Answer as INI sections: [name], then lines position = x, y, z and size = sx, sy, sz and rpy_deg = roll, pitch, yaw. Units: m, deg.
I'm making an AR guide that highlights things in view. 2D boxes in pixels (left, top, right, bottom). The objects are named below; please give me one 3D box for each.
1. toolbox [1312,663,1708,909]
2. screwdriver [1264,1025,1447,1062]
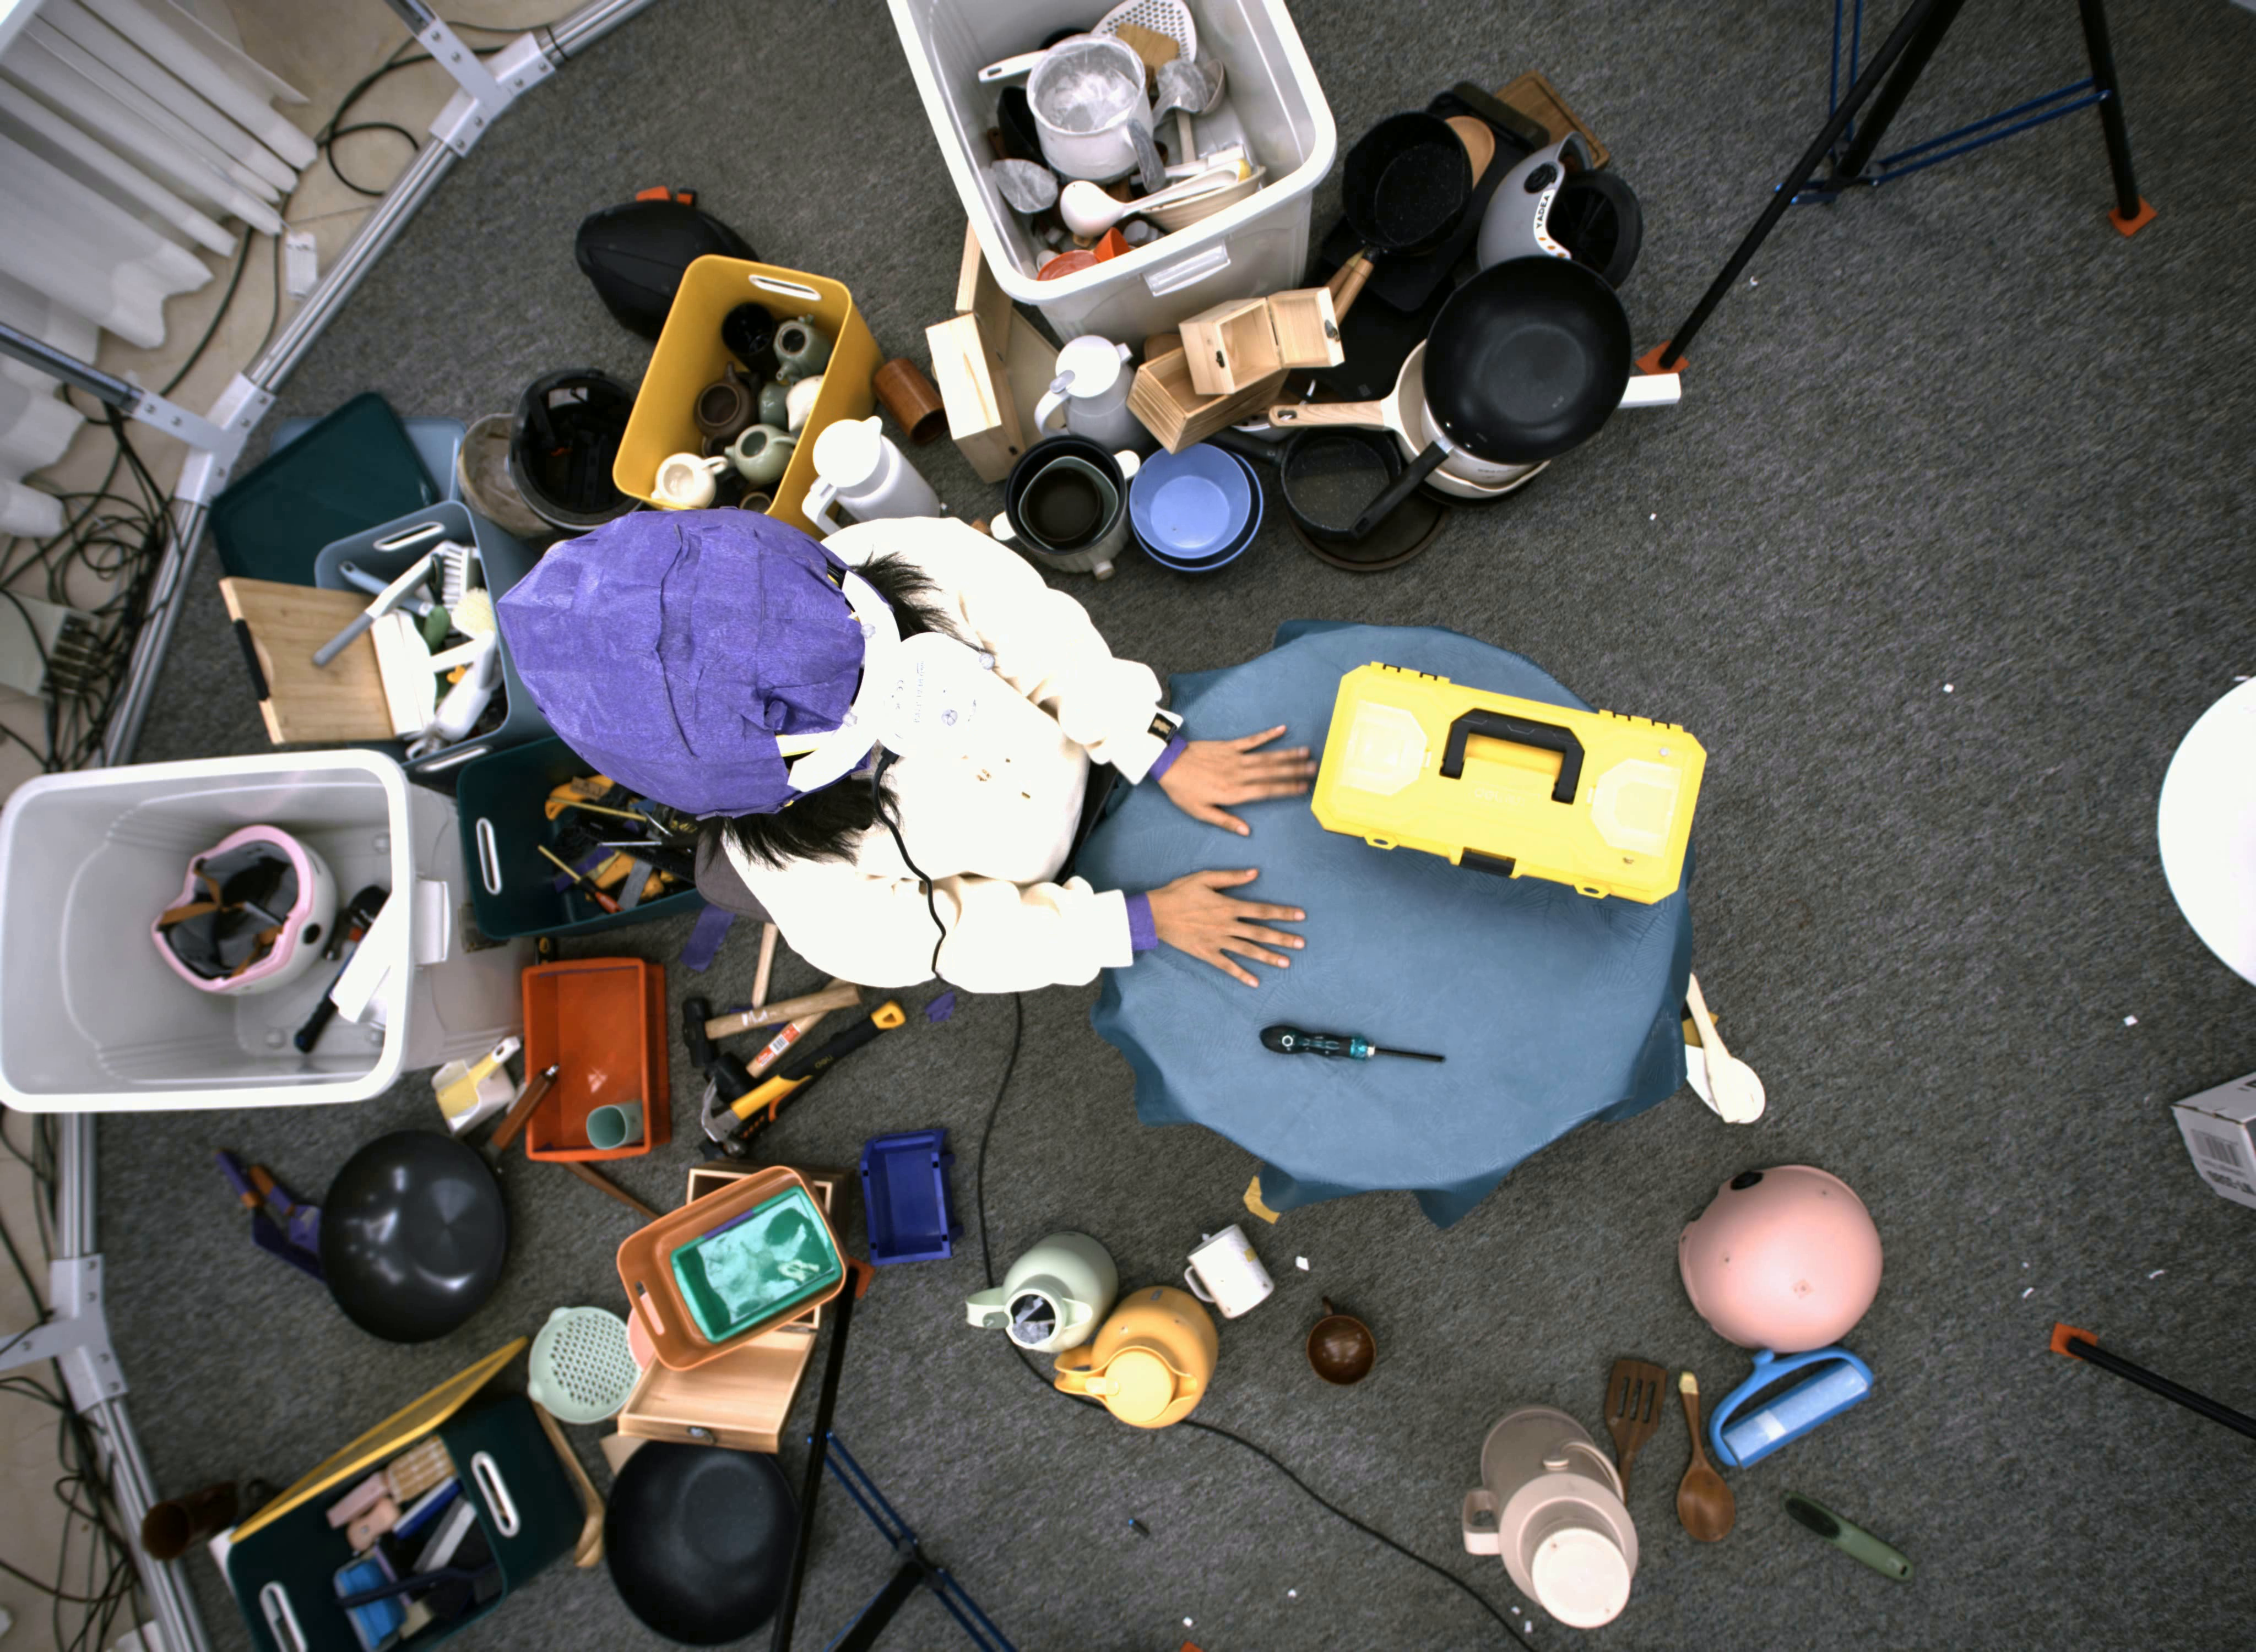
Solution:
[toolbox]
position = 0.369, -0.039, 1.360
size = 0.352, 0.173, 0.181
rpy_deg = 14, 88, 11
[screwdriver]
position = 0.237, 0.231, 1.447
size = 0.190, 0.034, 0.033
rpy_deg = 6, 86, 6
